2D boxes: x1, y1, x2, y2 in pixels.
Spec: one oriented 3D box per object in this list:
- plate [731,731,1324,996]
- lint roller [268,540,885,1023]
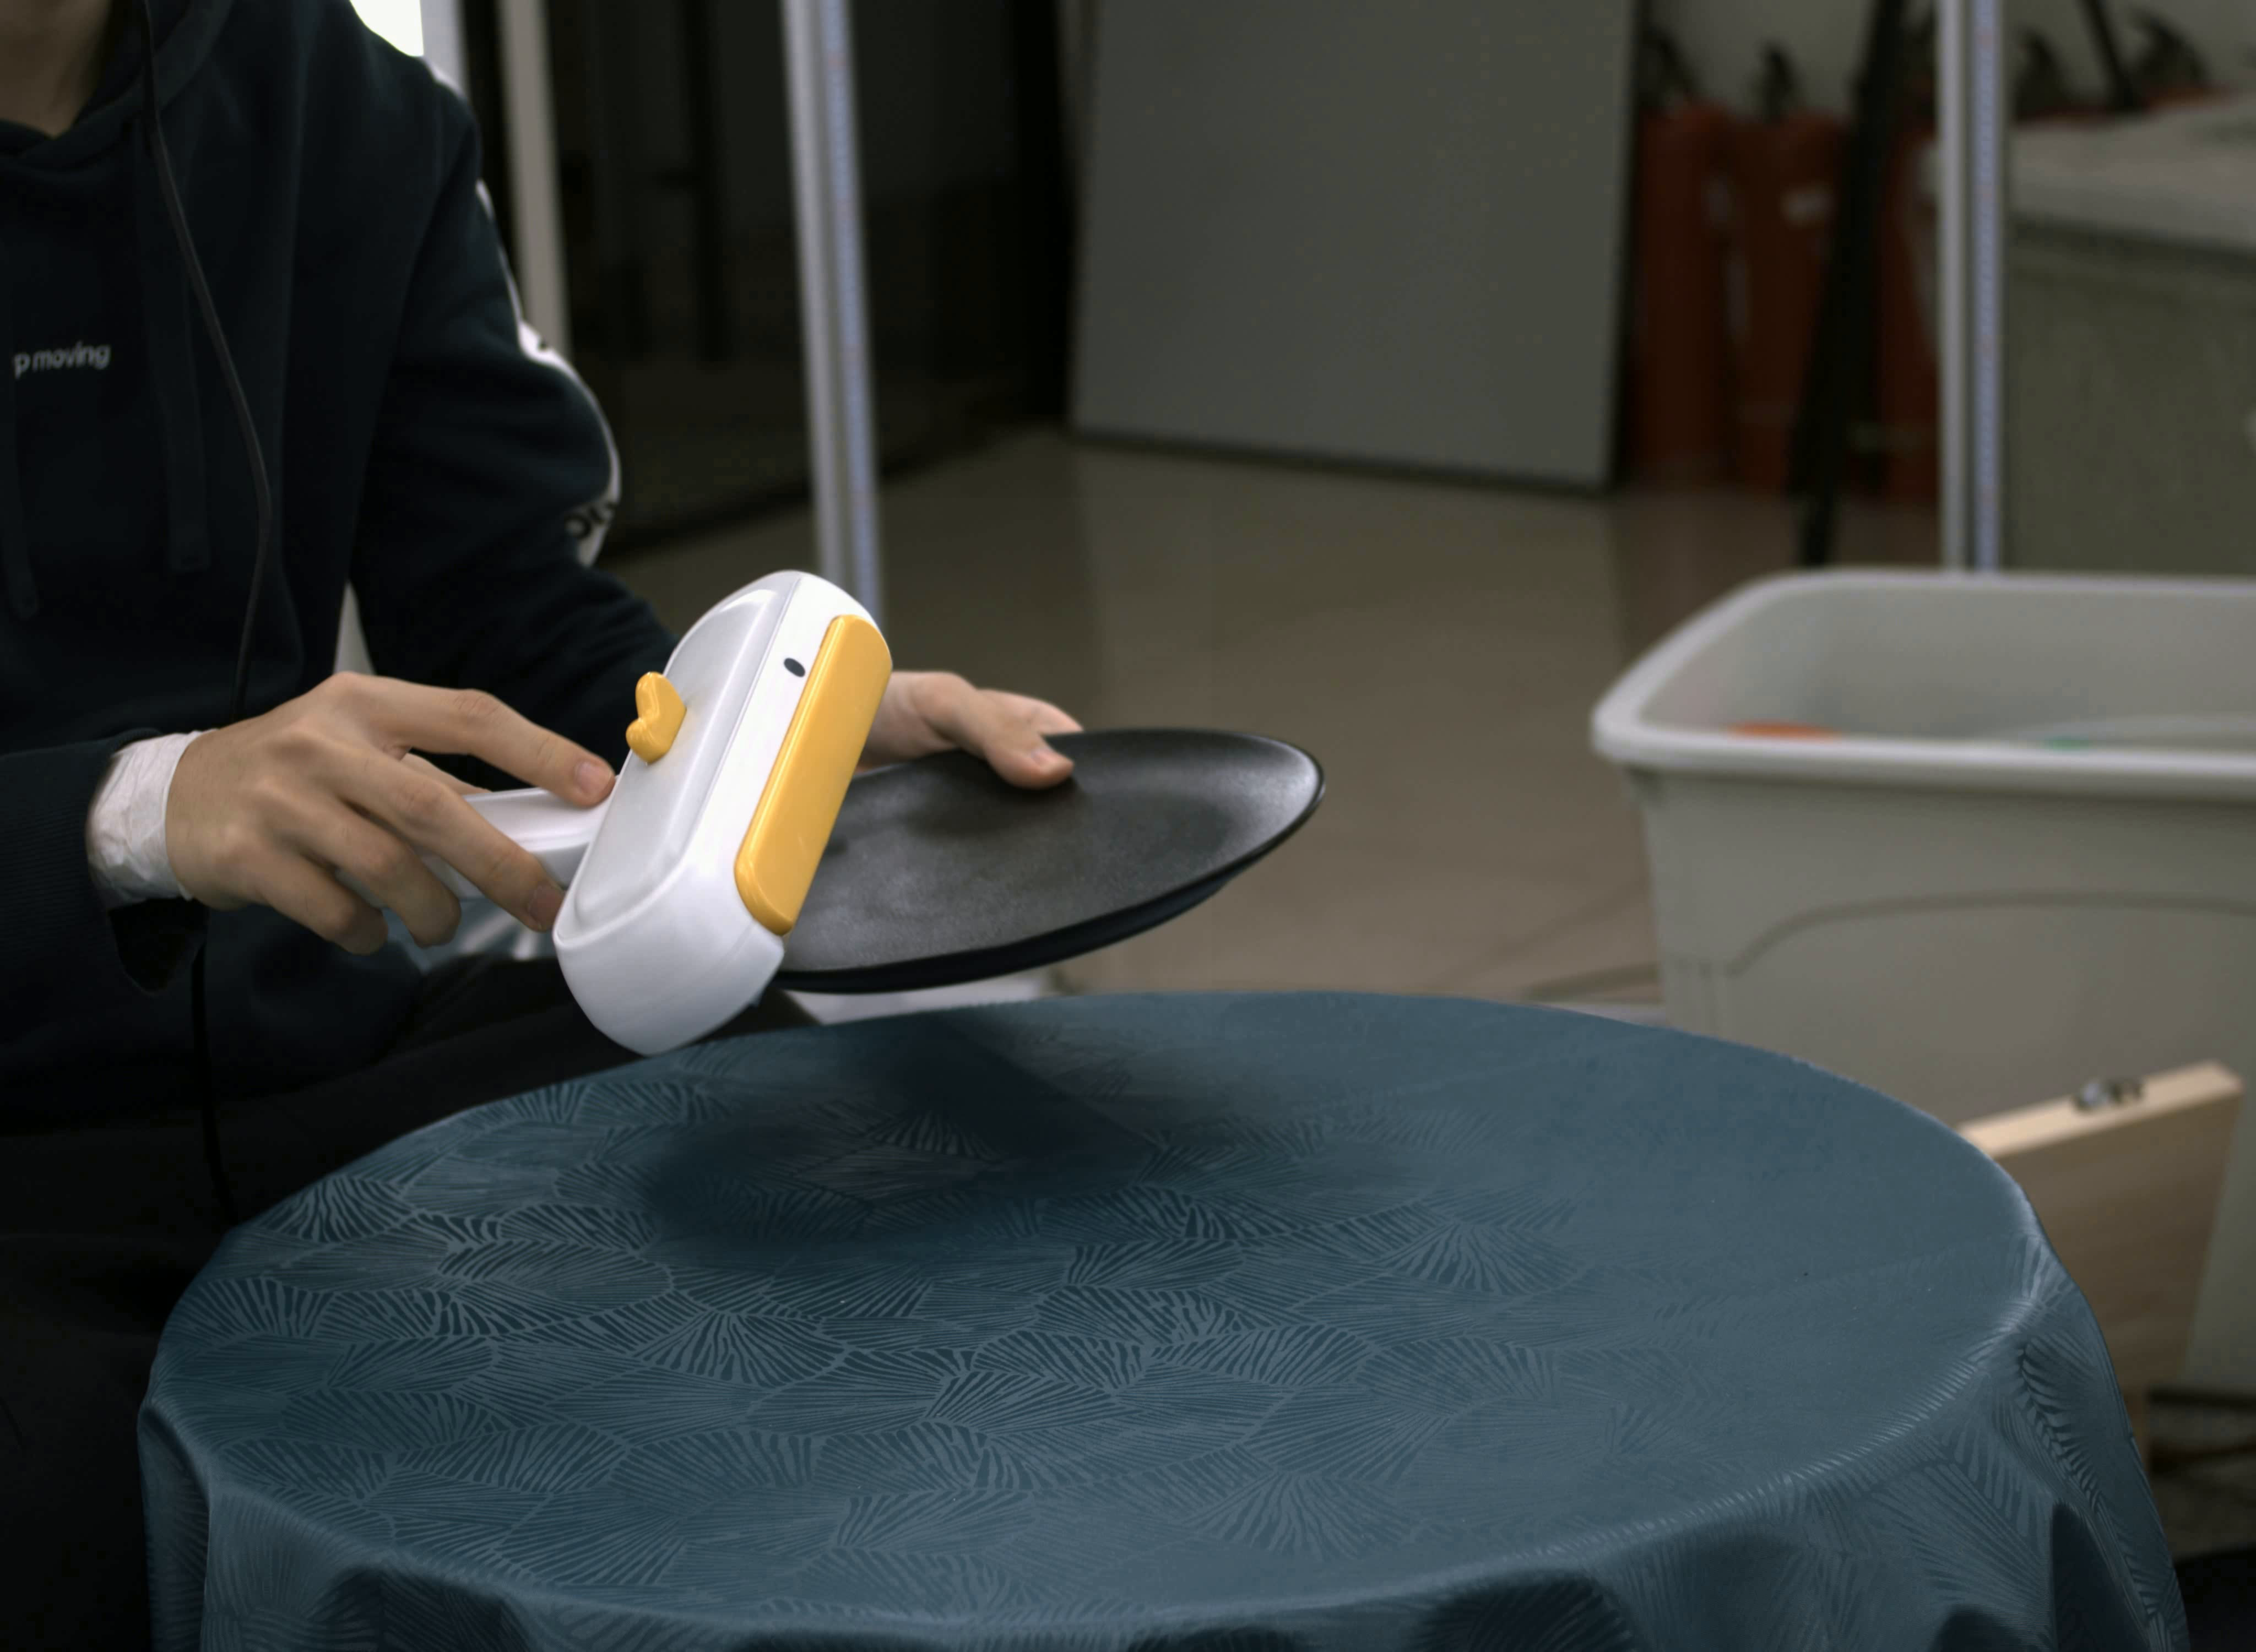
[{"bbox_3d":[-0.049,0.015,1.836,0.242,0.023,0.245,-12,15,2],"label":"plate"},{"bbox_3d":[-0.173,0.000,1.659,0.193,0.074,0.193,-23,32,23],"label":"lint roller"}]
